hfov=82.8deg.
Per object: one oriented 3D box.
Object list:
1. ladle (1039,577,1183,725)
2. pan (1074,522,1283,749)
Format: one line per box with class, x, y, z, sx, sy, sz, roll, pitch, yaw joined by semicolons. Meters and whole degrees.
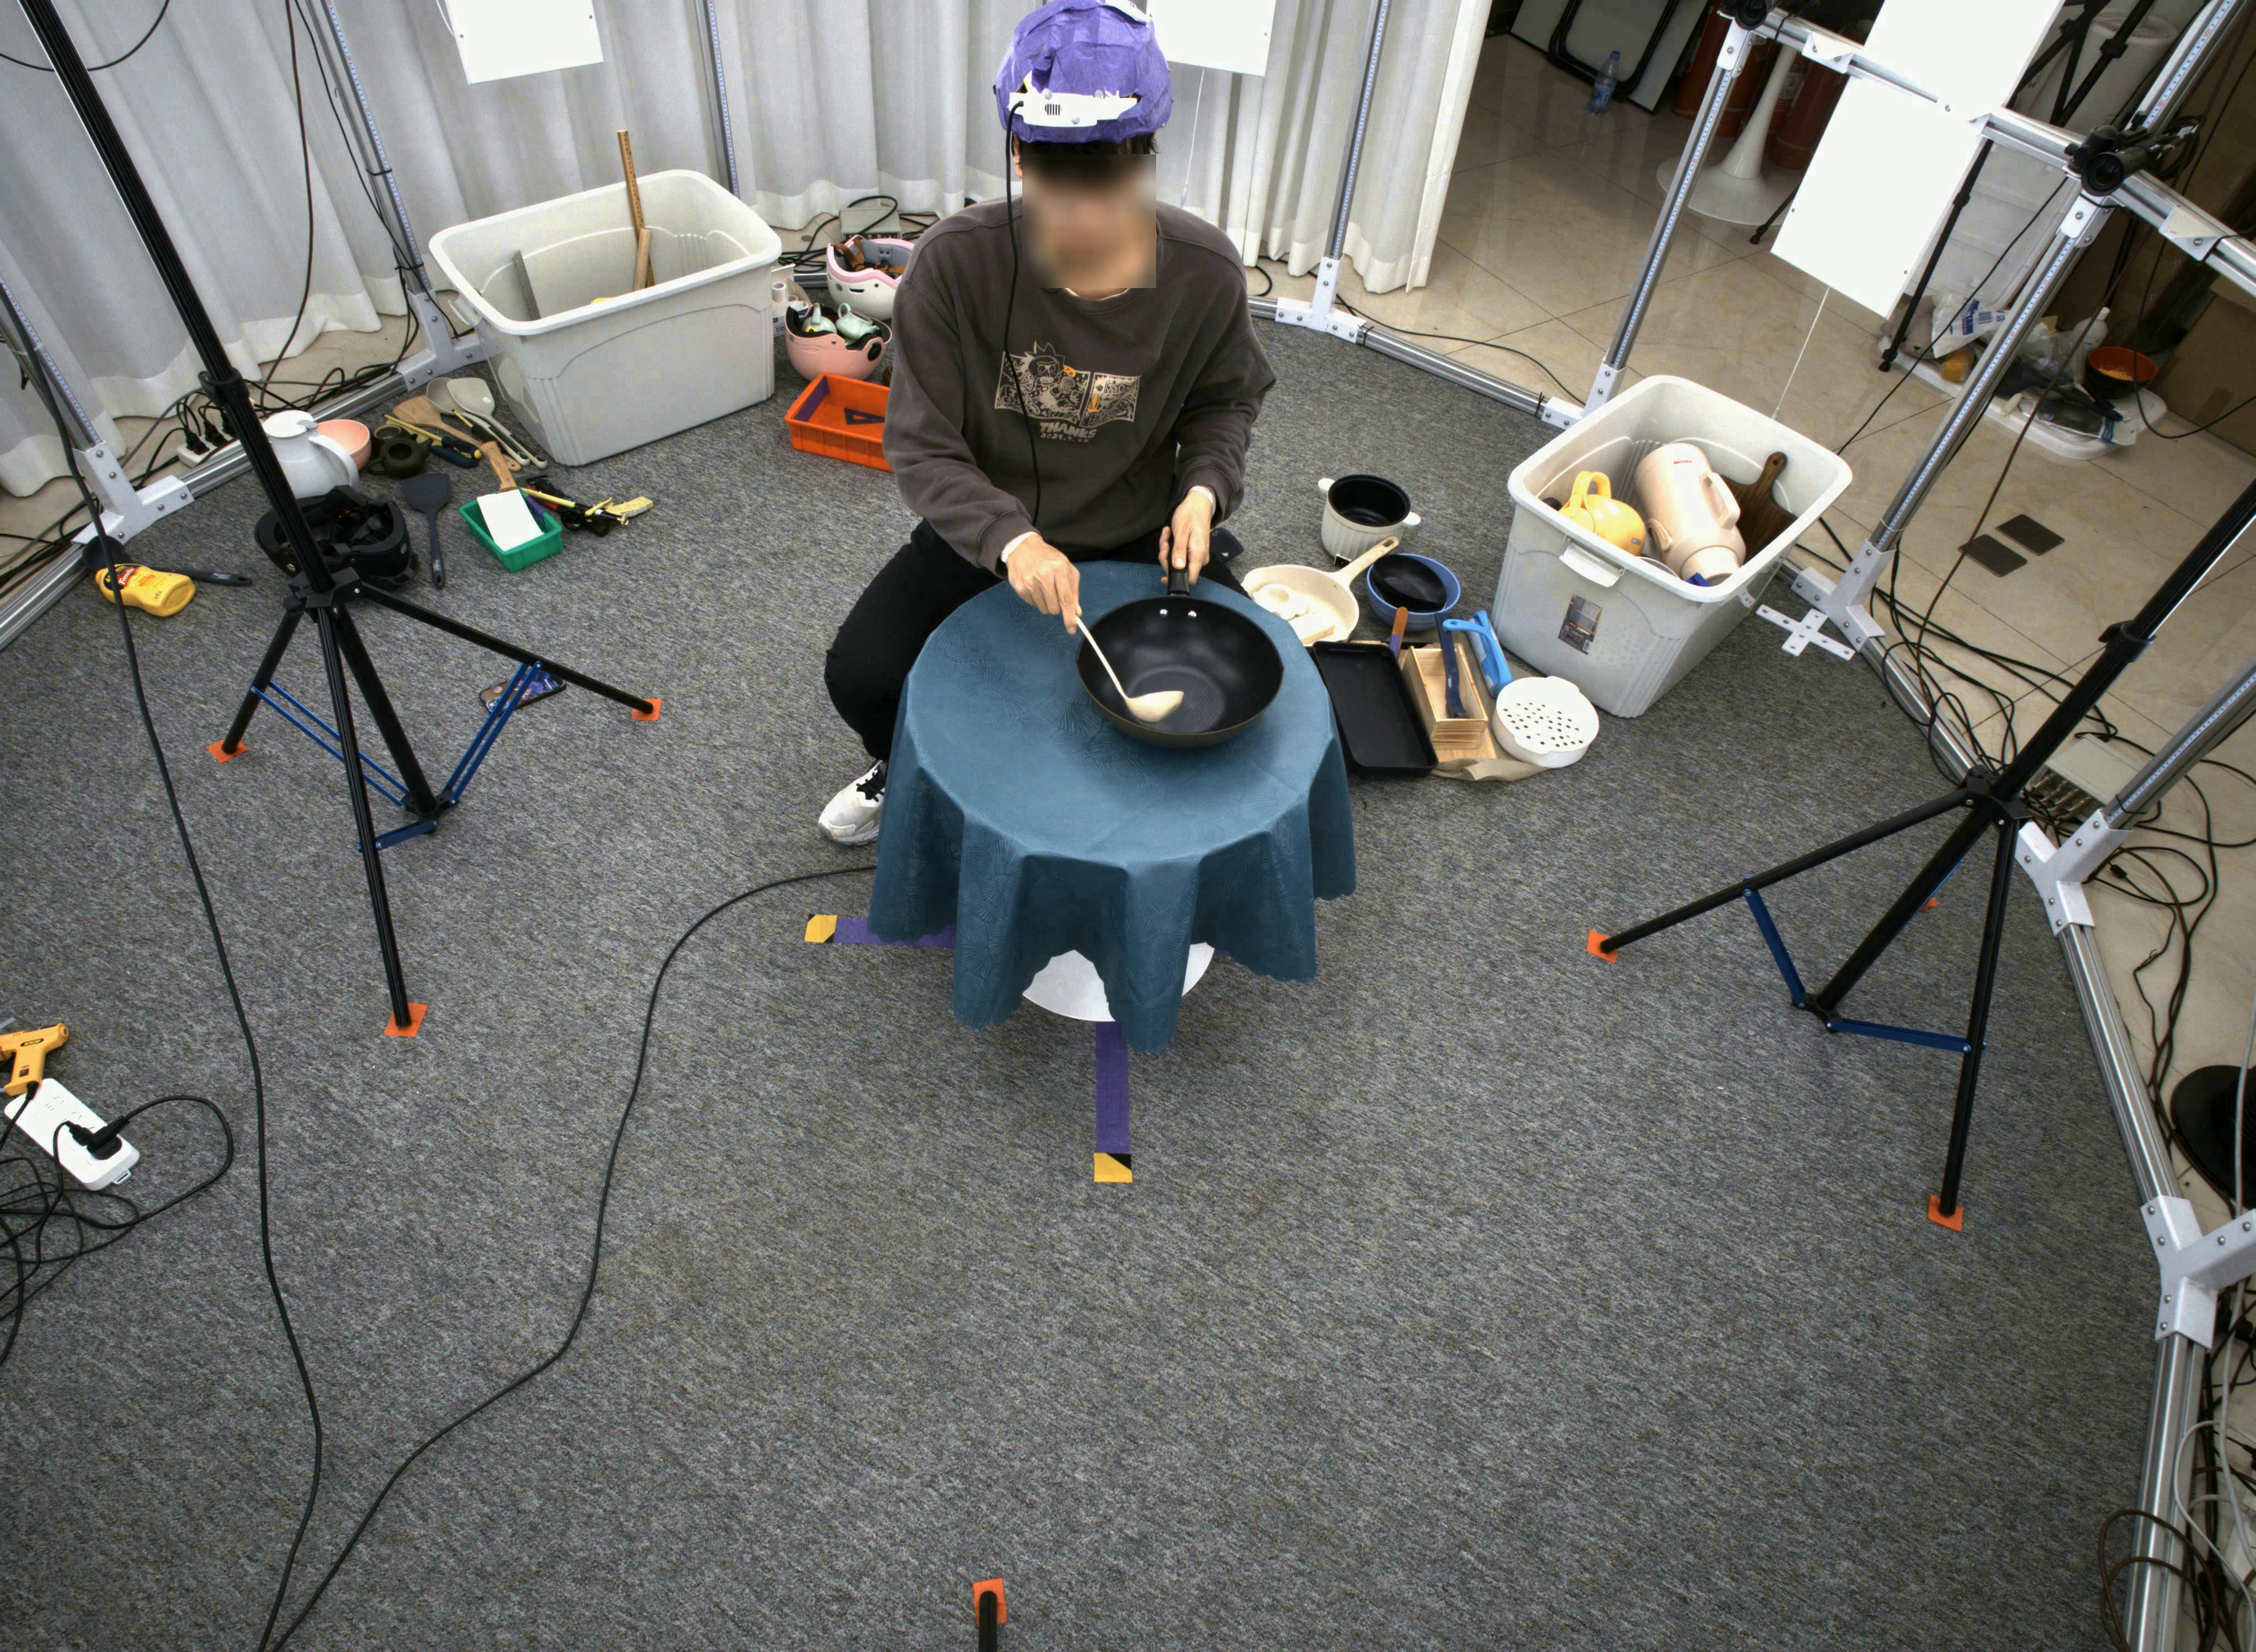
ladle;-0.020;-0.248;1.703;0.072;0.072;0.256;-35;83;14
pan;0.070;-0.270;1.852;0.288;0.085;0.475;3;48;-1
